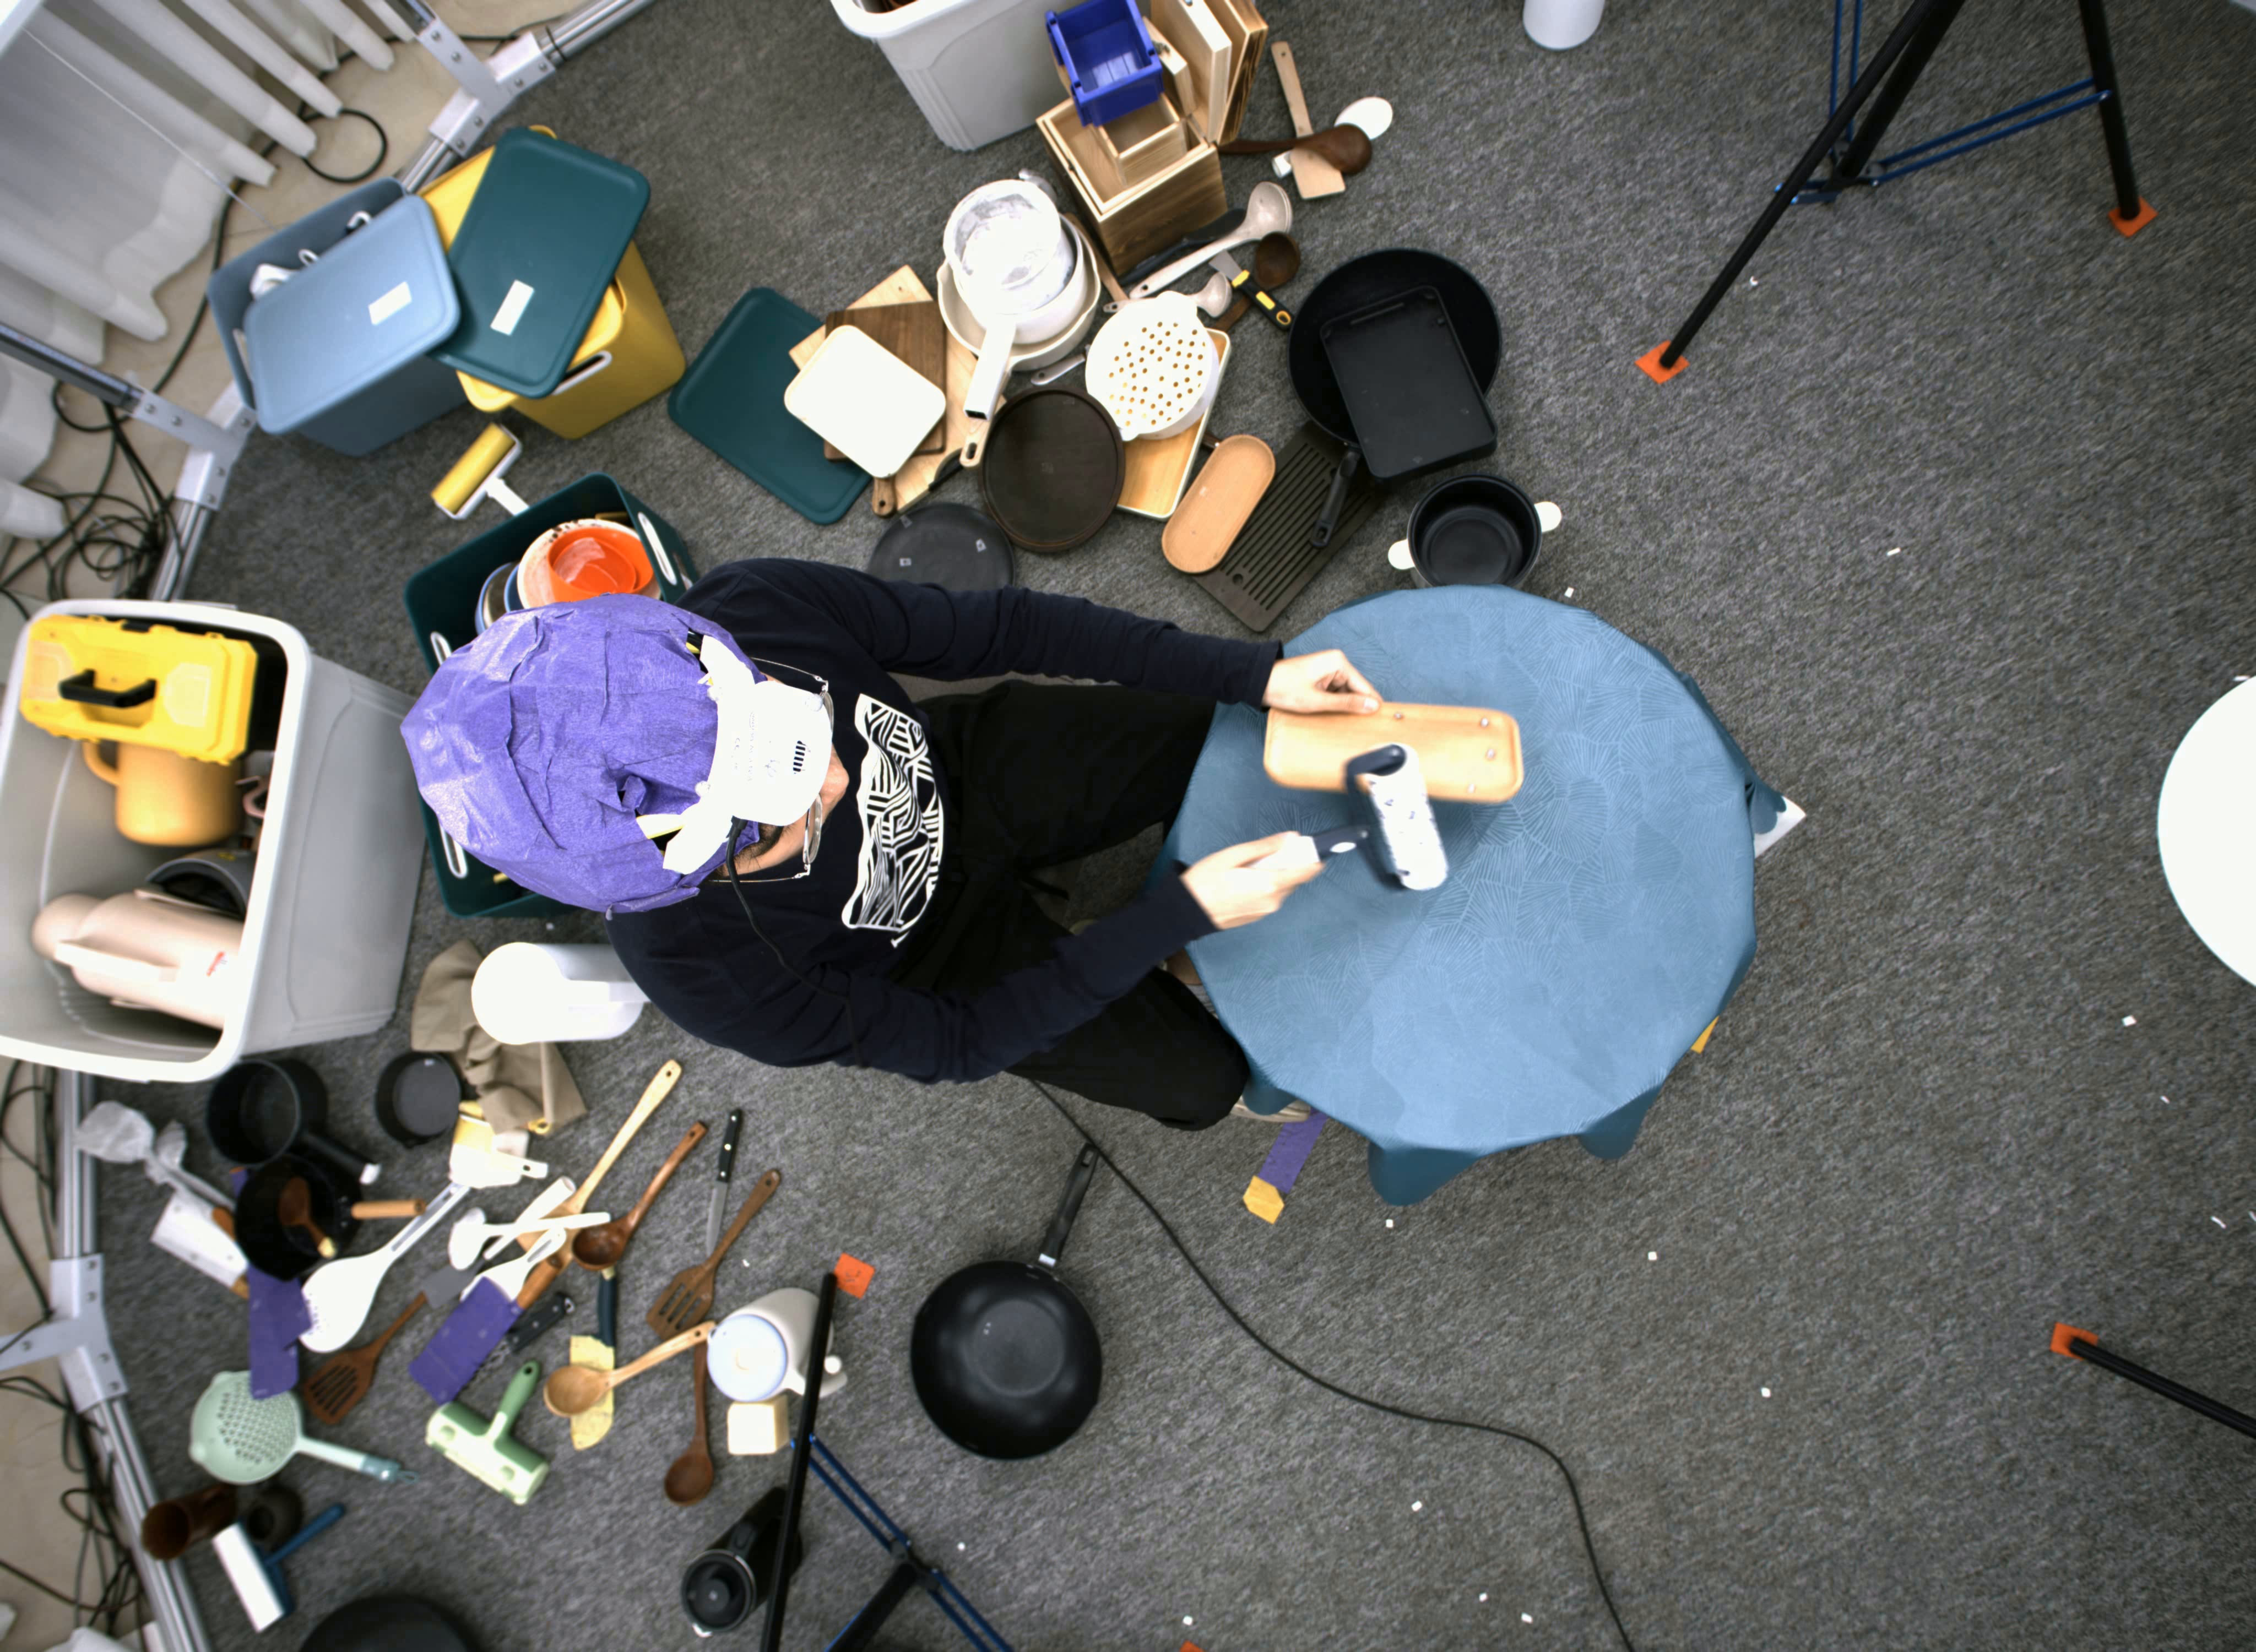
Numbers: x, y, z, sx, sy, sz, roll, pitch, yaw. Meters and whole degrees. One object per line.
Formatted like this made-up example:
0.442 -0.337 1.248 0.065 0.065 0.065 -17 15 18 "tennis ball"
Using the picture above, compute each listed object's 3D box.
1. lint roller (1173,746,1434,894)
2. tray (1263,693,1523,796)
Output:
0.162 0.025 1.334 0.249 0.179 0.049 -20 45 11 "lint roller"
0.261 -0.082 1.360 0.251 0.127 0.023 4 132 9 "tray"
